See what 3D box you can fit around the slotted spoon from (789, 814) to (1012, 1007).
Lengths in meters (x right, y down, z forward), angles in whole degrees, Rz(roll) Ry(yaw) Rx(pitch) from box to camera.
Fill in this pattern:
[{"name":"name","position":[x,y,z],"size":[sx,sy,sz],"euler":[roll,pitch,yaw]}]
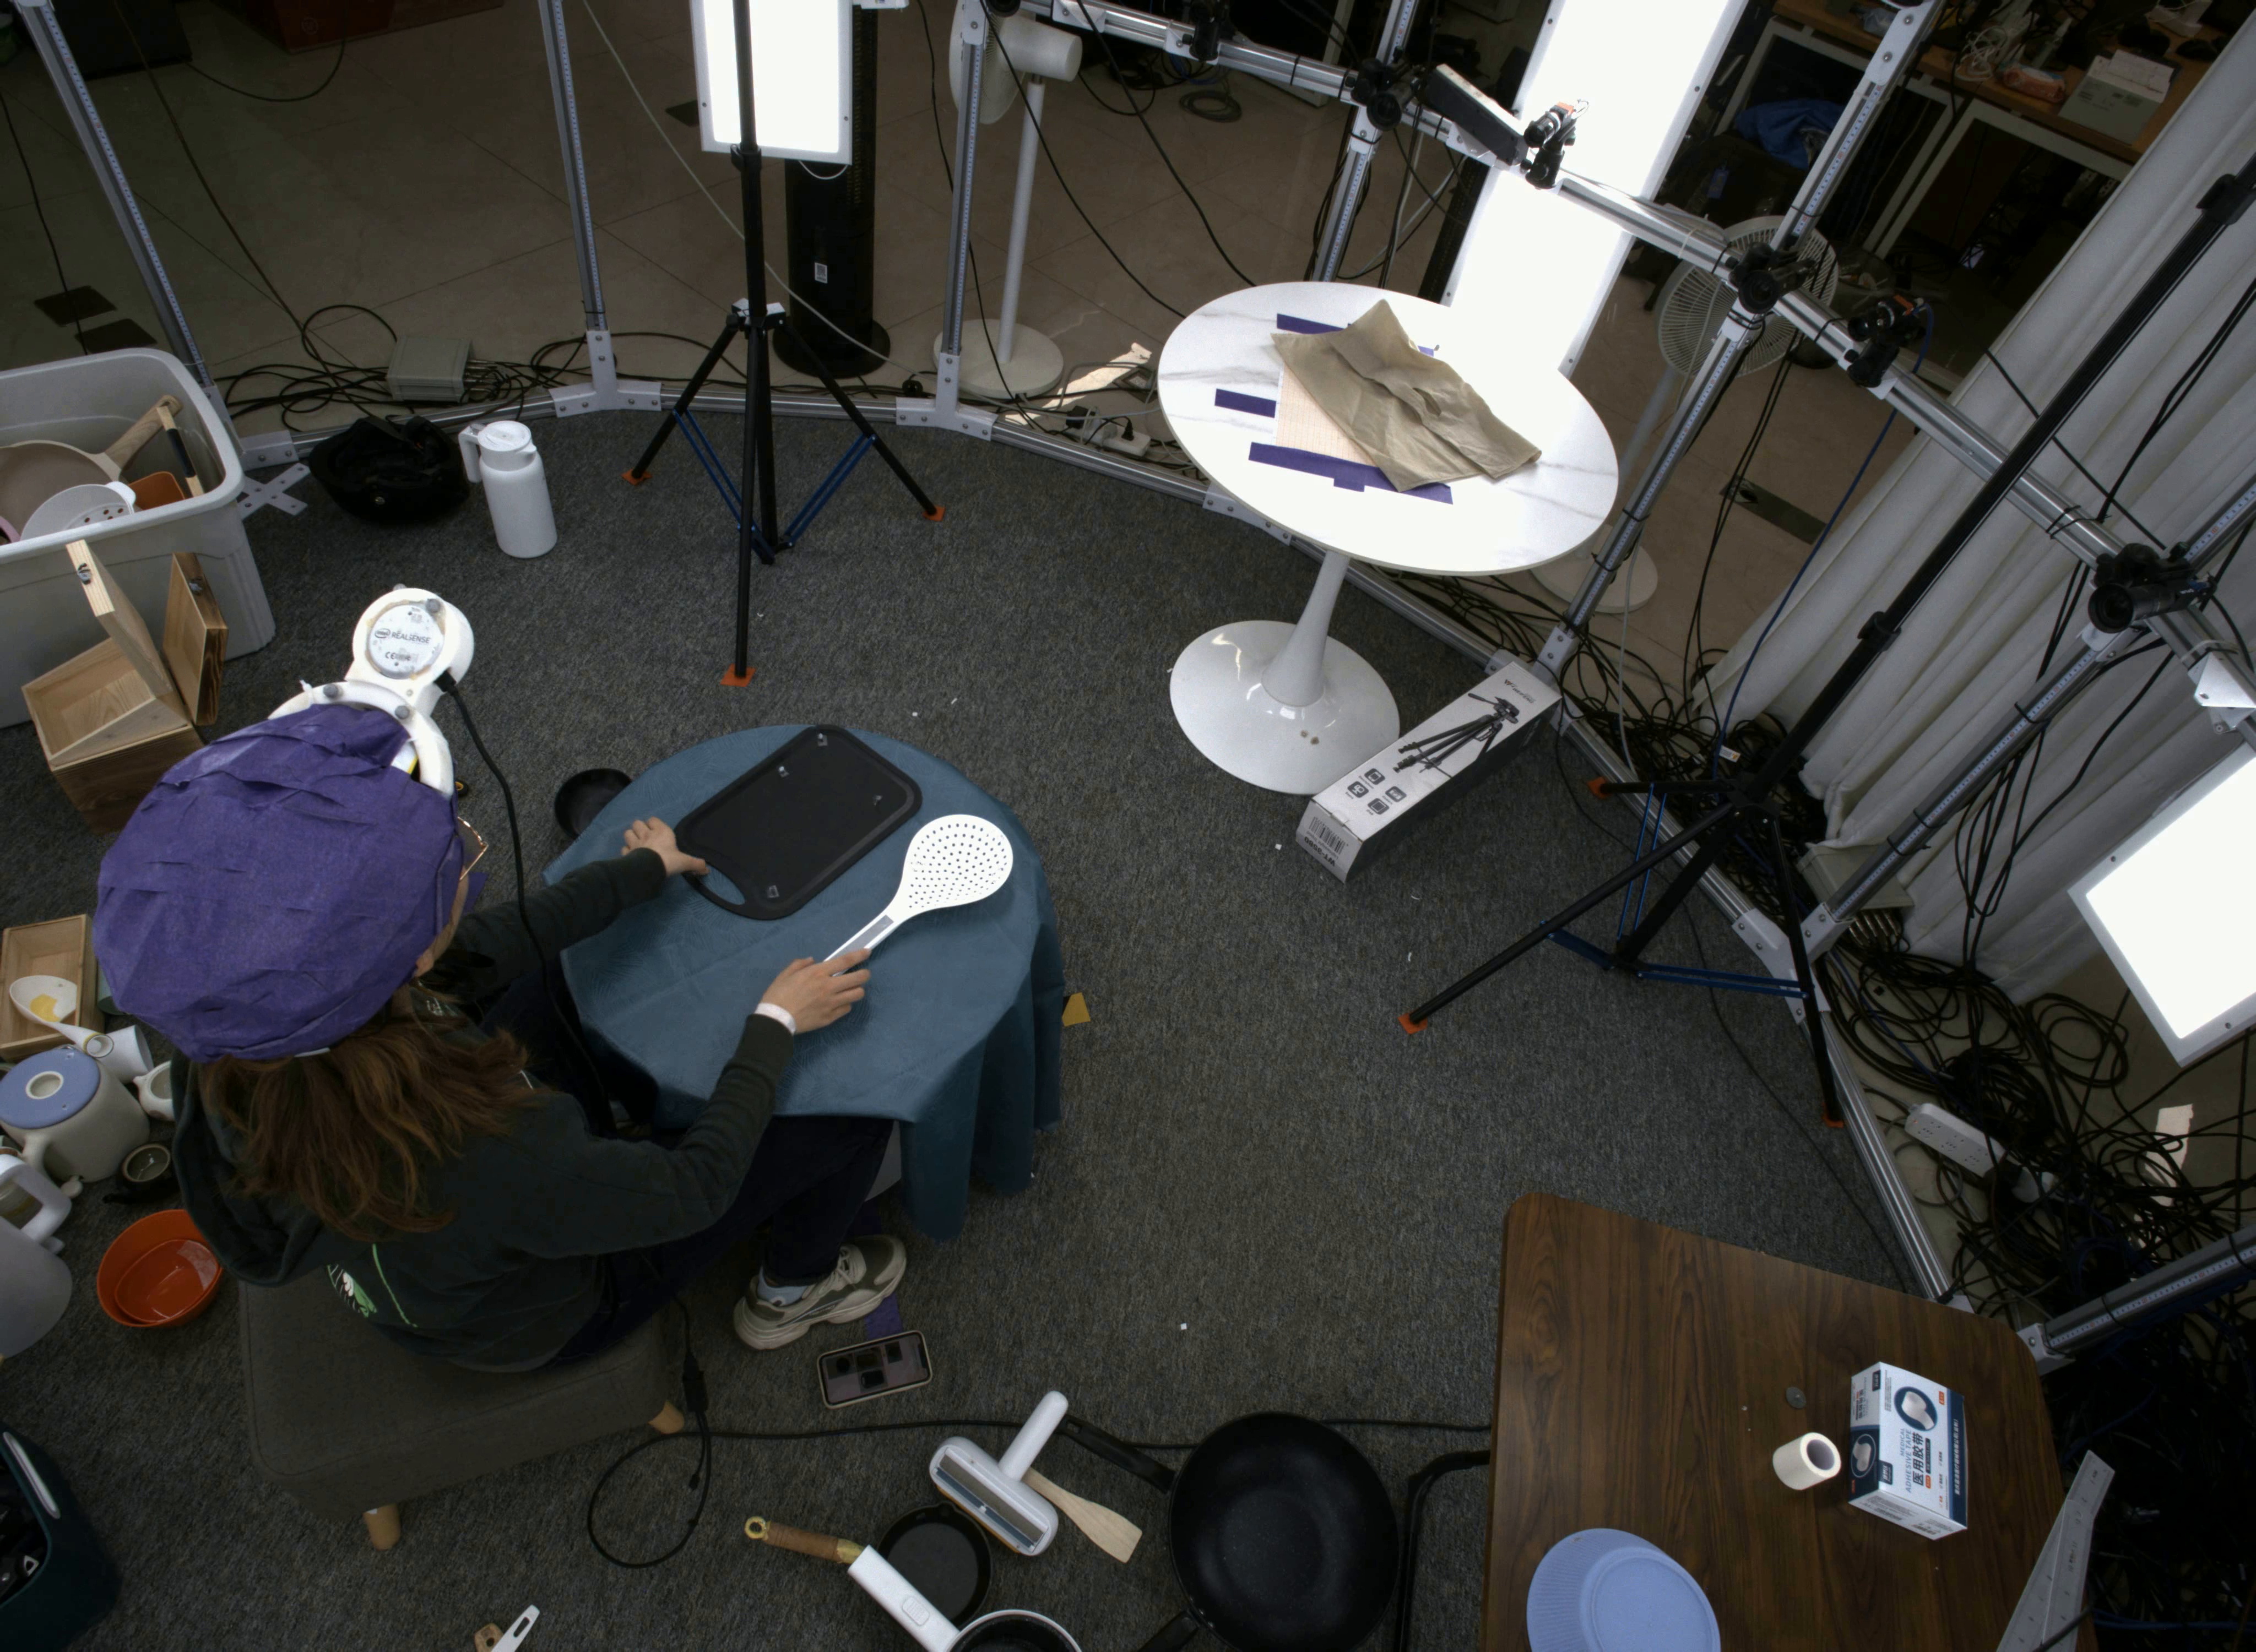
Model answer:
[{"name":"slotted spoon","position":[-0.290,0.107,1.655],"size":[0.133,0.047,0.350],"euler":[38,55,17]}]

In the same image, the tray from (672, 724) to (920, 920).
[{"name":"tray","position":[-0.444,-0.010,1.727],"size":[0.207,0.010,0.325],"euler":[36,54,13]}]
